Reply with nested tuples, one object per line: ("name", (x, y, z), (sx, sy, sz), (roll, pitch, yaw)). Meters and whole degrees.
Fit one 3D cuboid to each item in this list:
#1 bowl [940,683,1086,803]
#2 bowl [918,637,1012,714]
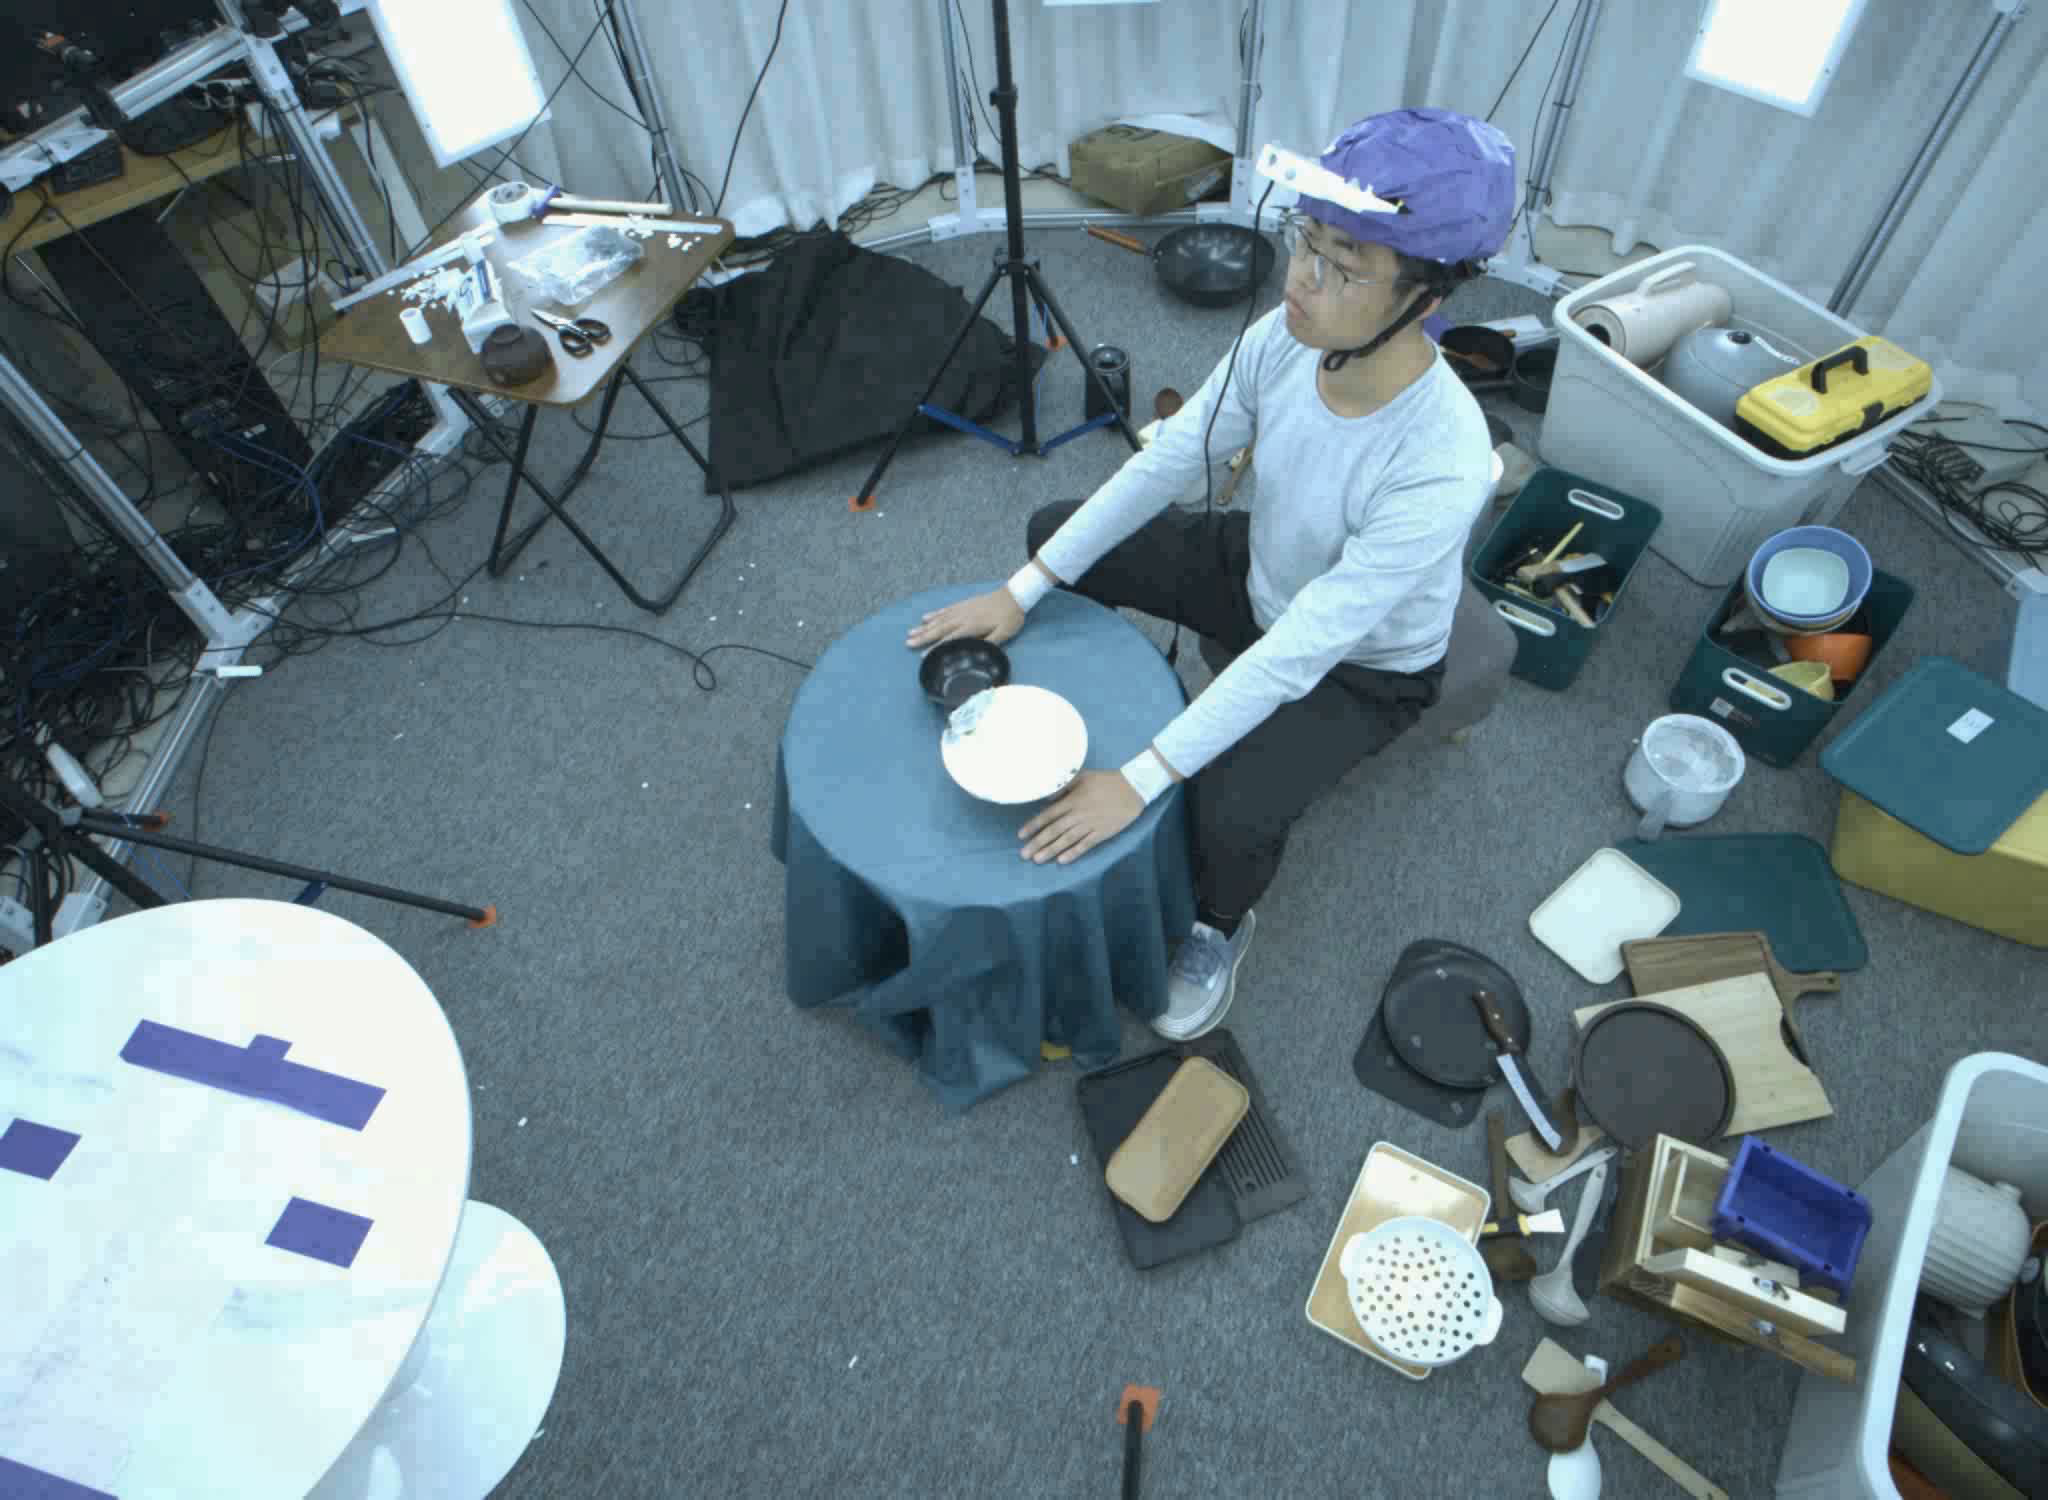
("bowl", (-0.014, 0.008, 1.741), (0.204, 0.079, 0.202), (0, 55, 1))
("bowl", (-0.088, -0.103, 1.844), (0.140, 0.050, 0.138), (2, 55, -2))
